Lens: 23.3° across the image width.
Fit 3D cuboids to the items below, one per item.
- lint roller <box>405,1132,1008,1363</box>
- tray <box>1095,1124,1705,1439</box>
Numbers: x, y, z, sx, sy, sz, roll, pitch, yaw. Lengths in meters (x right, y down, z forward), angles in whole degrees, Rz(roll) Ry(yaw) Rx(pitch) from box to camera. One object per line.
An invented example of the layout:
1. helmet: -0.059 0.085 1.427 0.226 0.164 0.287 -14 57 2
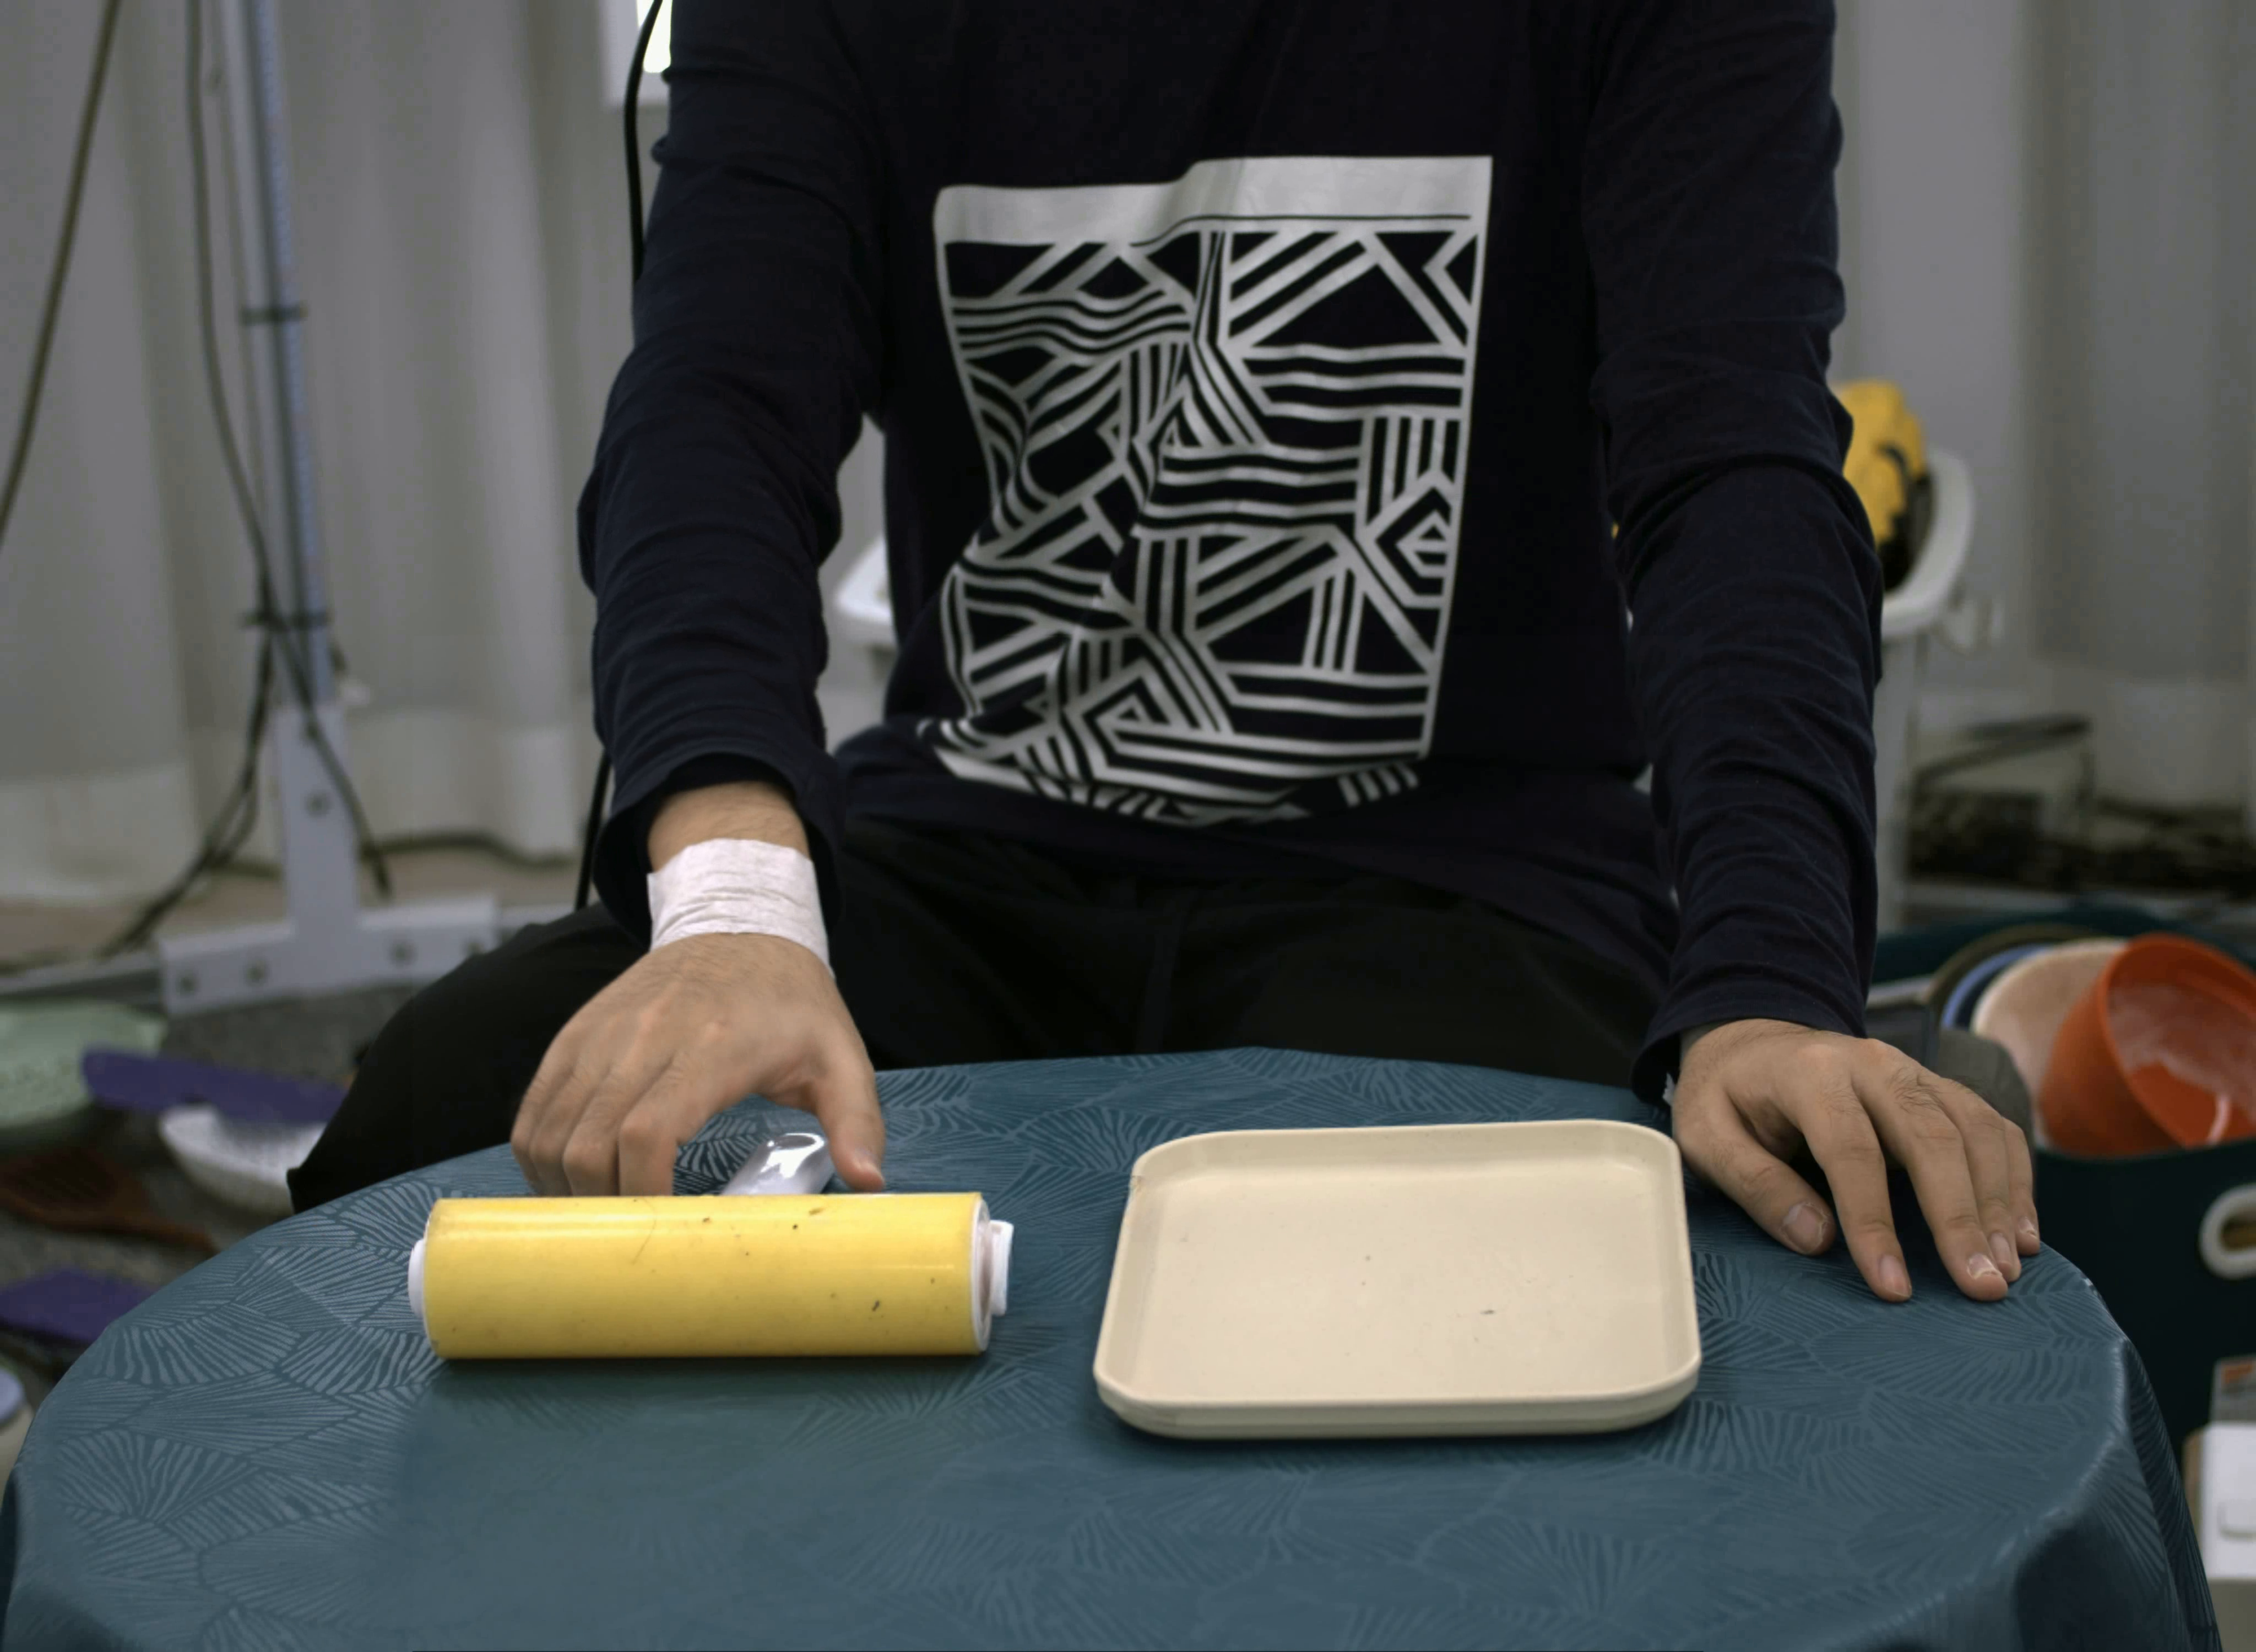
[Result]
1. lint roller: -0.118 0.112 1.656 0.174 0.051 0.193 0 18 4
2. tray: 0.080 0.133 1.601 0.171 0.017 0.241 -1 15 4
